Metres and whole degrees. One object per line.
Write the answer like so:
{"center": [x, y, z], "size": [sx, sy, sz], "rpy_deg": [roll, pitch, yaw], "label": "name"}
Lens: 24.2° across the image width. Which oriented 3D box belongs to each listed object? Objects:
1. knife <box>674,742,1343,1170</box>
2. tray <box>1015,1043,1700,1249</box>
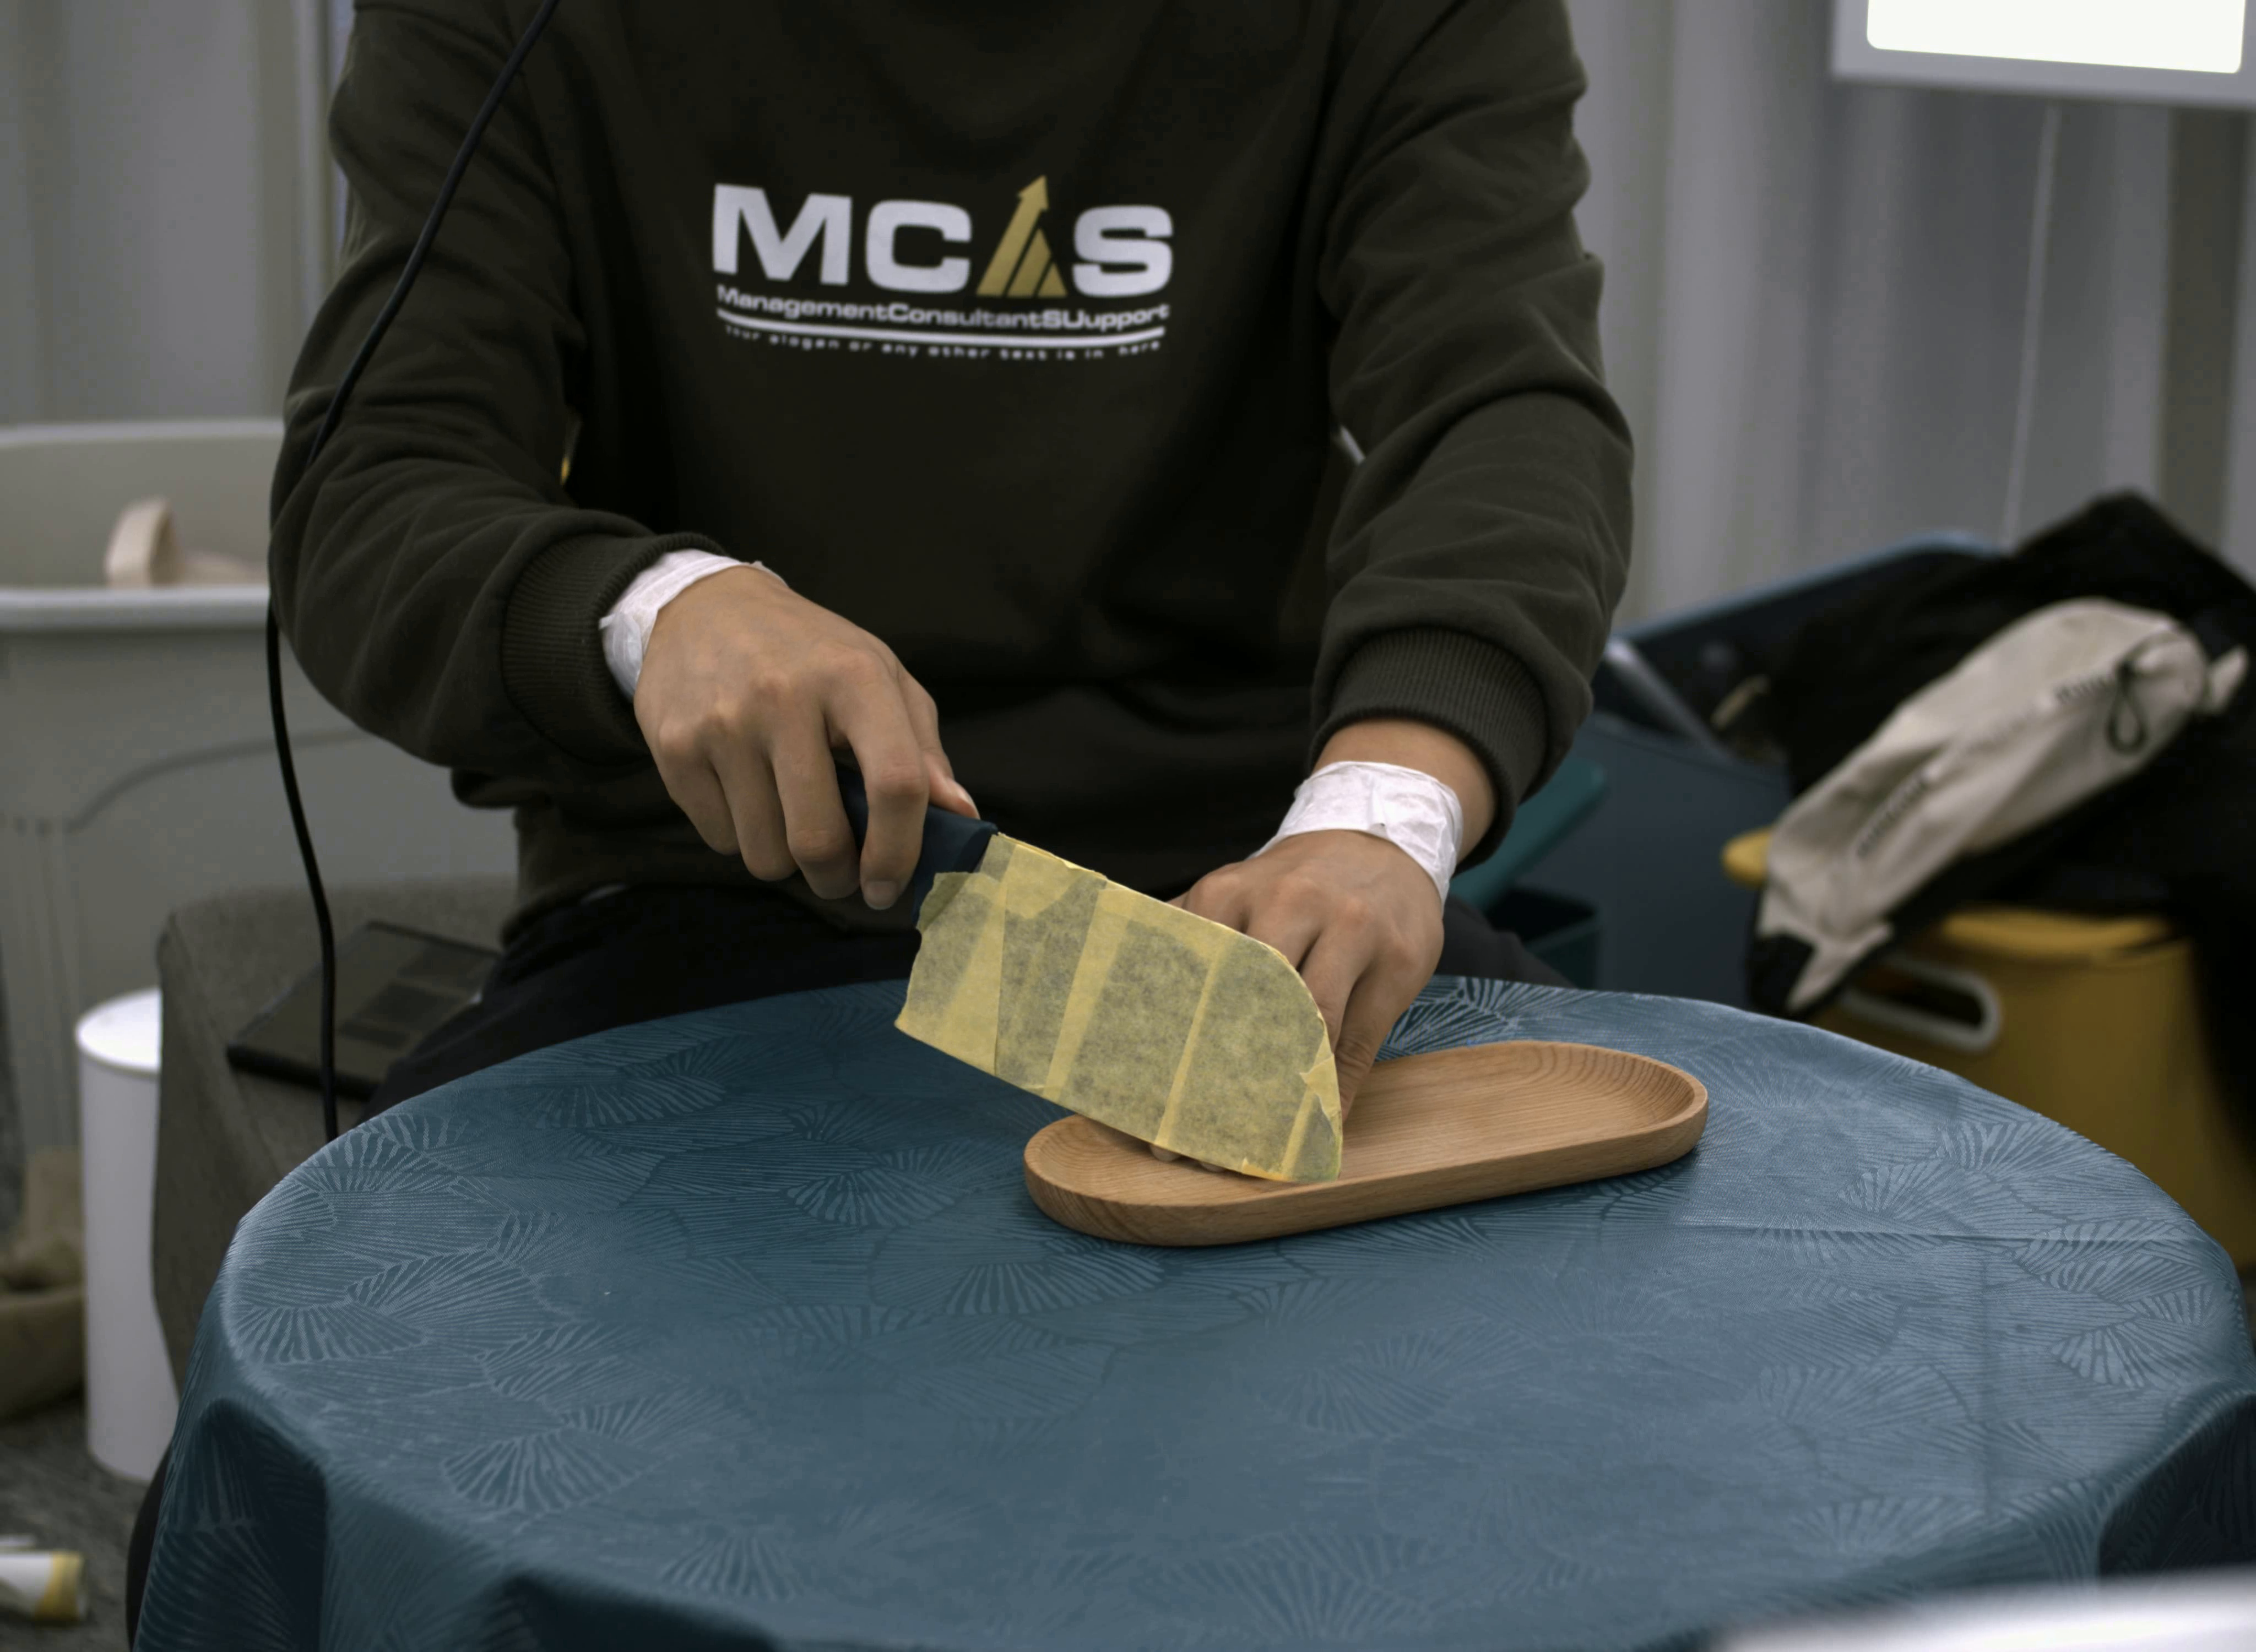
{"center": [-0.042, 0.038, 1.669], "size": [0.285, 0.081, 0.027], "rpy_deg": [26, 9, 34], "label": "knife"}
{"center": [0.073, 0.099, 1.645], "size": [0.232, 0.020, 0.100], "rpy_deg": [-9, 17, -27], "label": "tray"}
